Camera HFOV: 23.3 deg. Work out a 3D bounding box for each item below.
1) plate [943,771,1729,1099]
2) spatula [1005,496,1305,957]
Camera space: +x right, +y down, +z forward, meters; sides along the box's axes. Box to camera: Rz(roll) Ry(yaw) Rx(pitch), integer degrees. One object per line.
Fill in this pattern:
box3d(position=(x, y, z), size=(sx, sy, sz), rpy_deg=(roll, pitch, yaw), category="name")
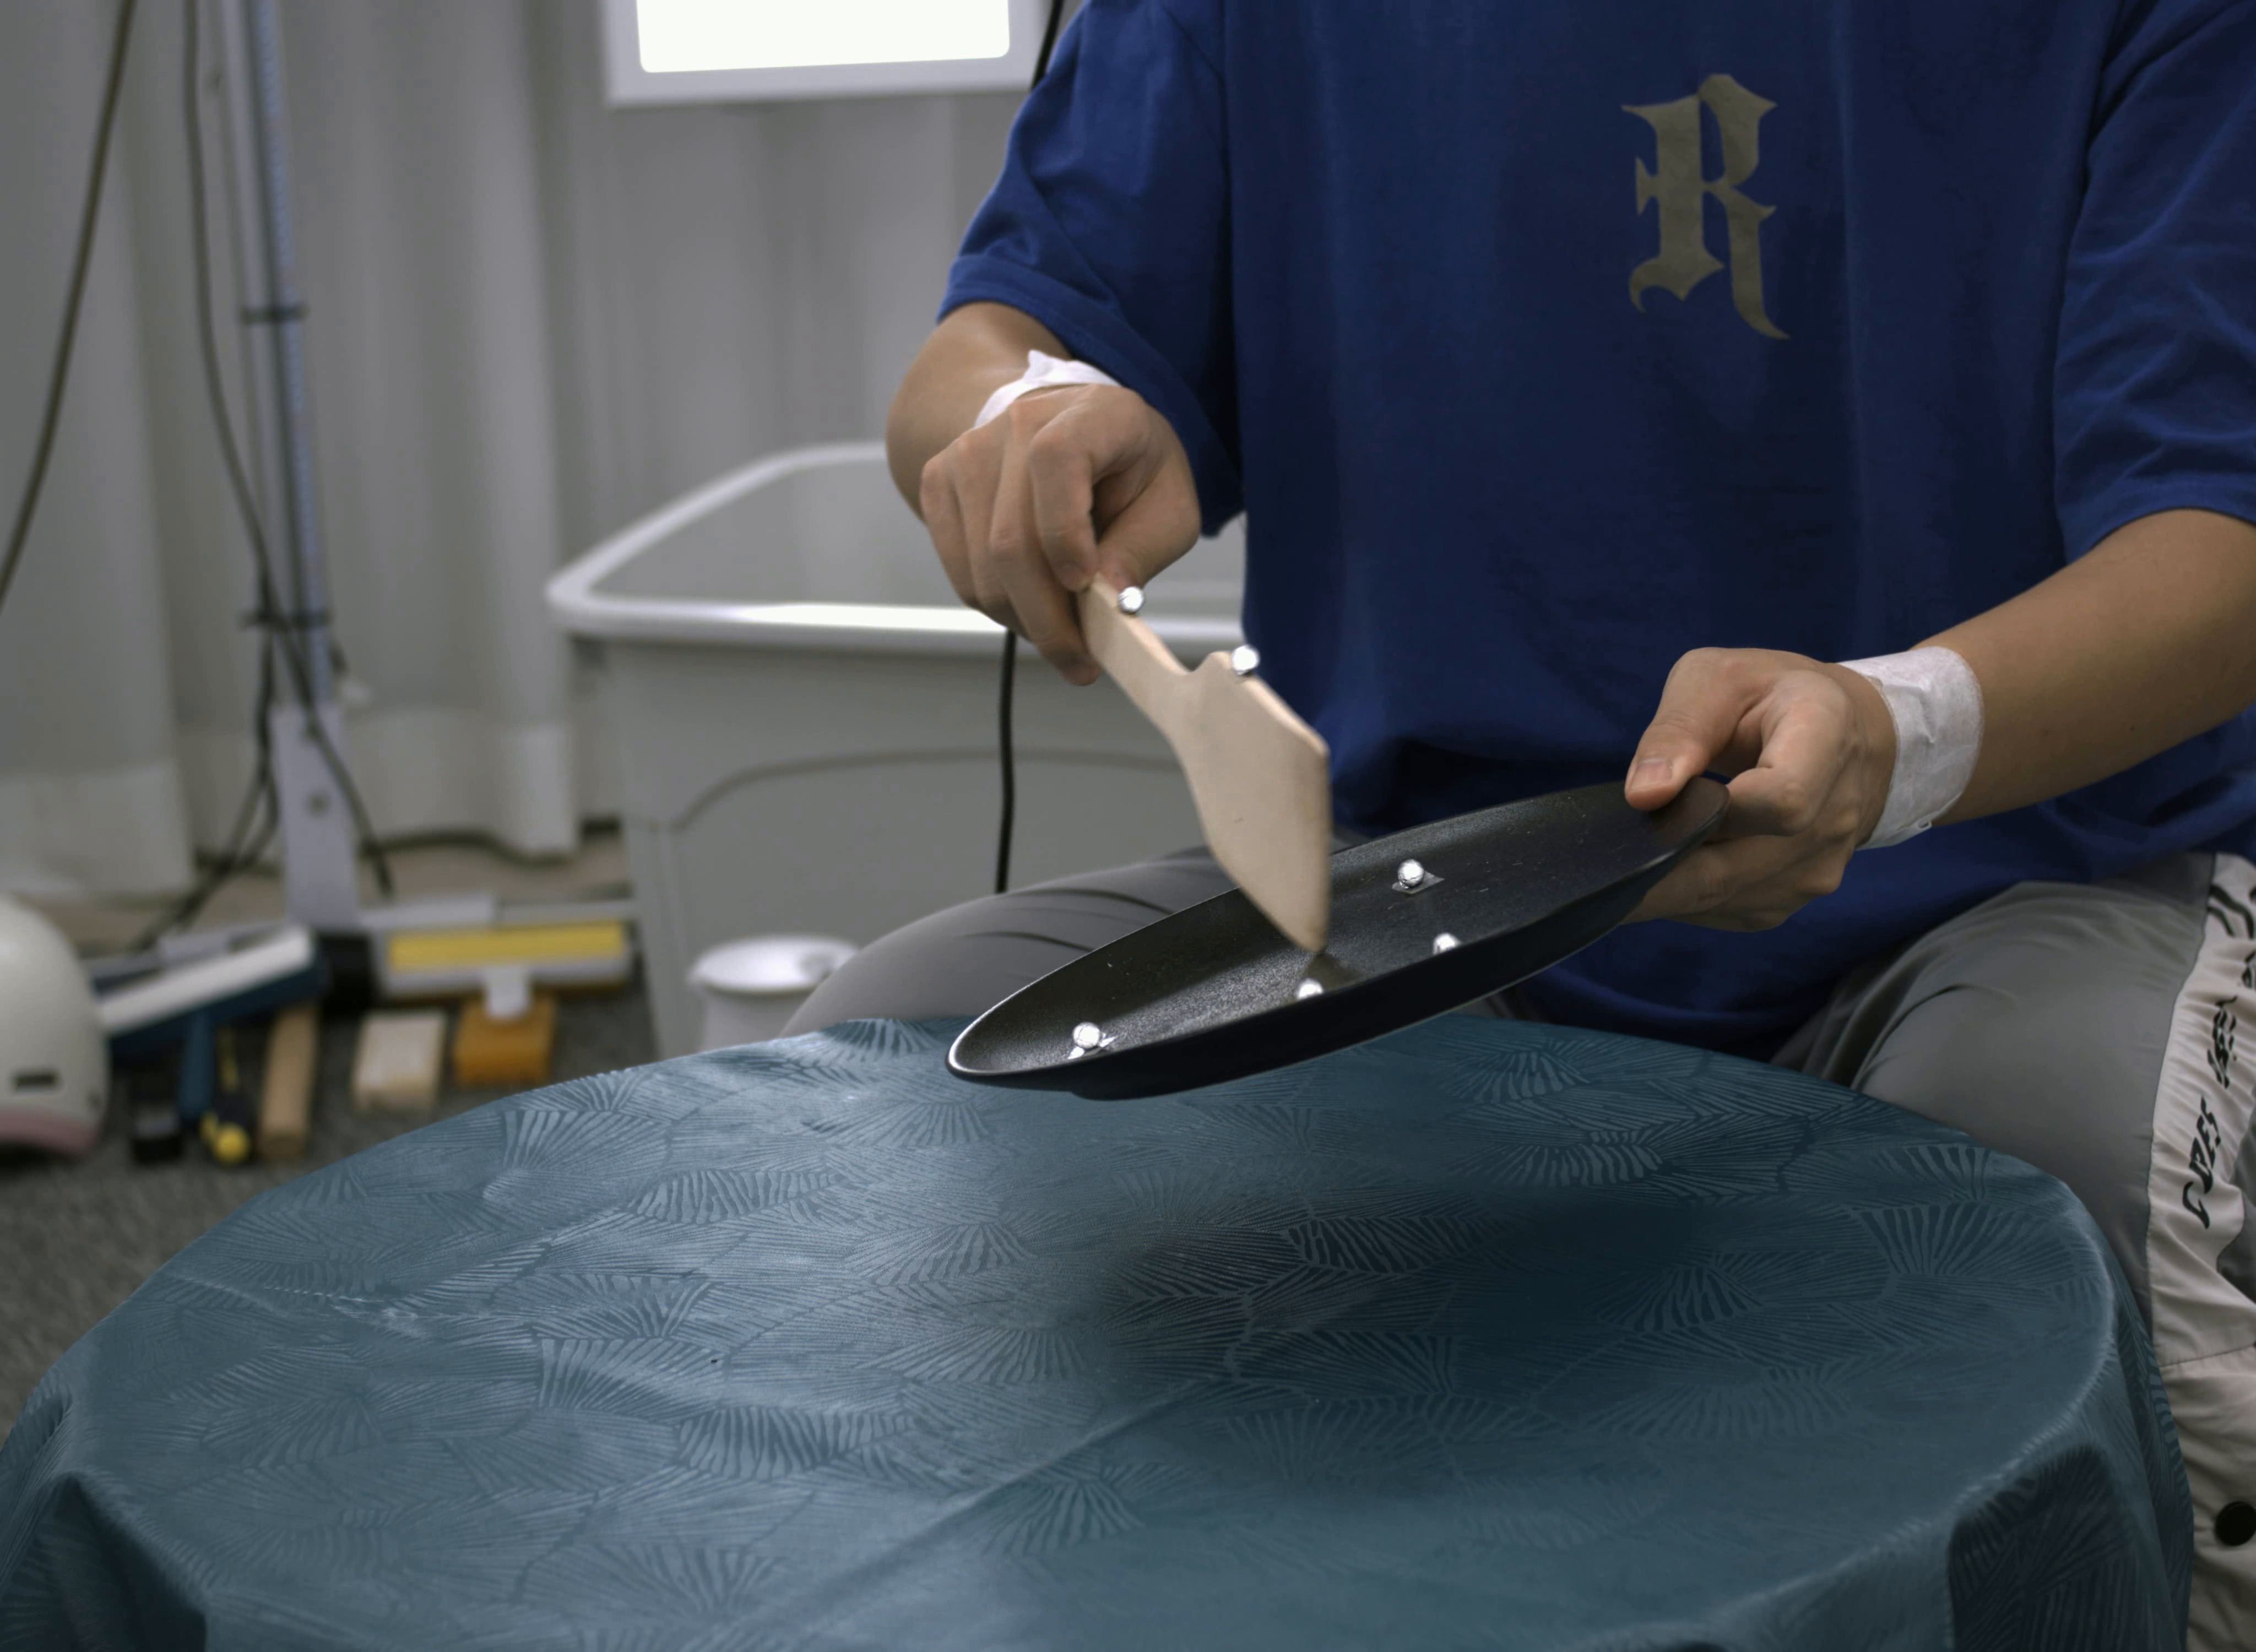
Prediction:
box3d(position=(0.063, 0.036, 1.603), size=(0.244, 0.023, 0.245), rpy_deg=(-20, 7, 2), category="plate")
box3d(position=(0.004, -0.047, 1.746), size=(0.010, 0.072, 0.296), rpy_deg=(-8, 25, -16), category="spatula")
